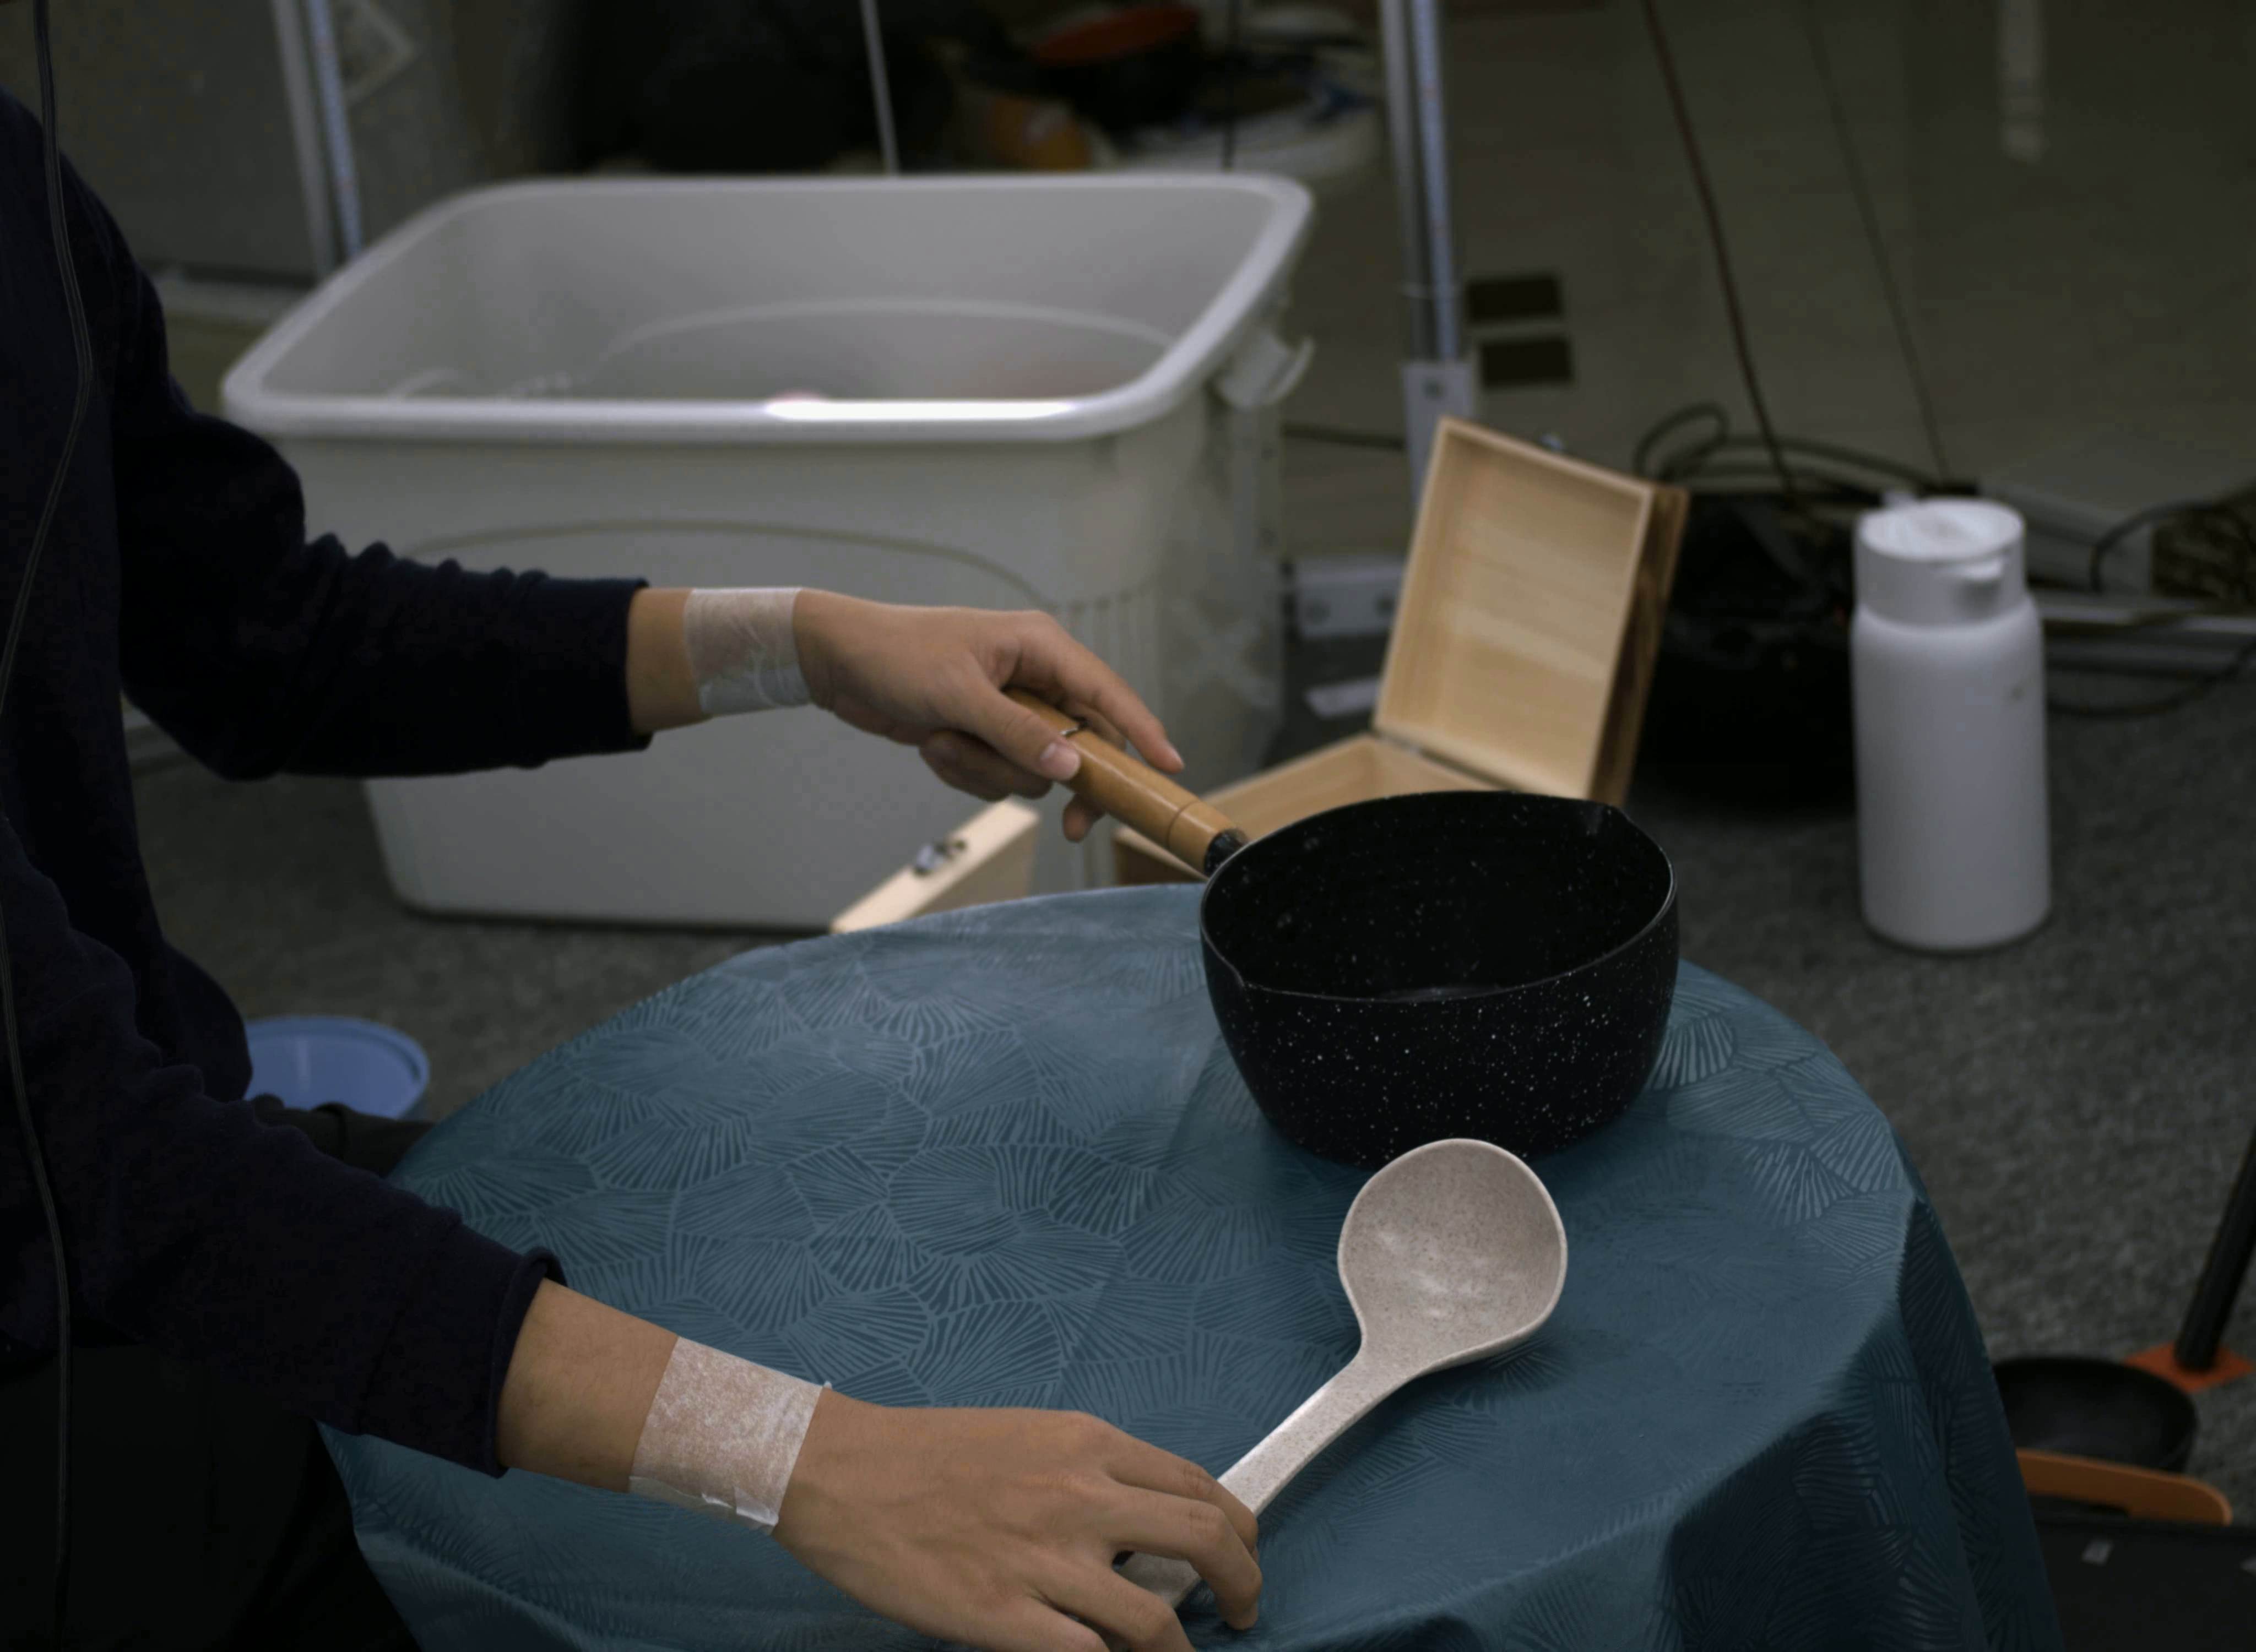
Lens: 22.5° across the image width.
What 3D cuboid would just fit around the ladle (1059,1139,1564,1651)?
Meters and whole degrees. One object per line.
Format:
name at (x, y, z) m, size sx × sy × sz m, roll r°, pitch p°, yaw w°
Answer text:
ladle at (0.053, 0.197, 1.932) m, size 0.089 × 0.070 × 0.272 m, roll 18°, pitch 35°, yaw 30°

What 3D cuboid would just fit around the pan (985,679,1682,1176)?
pan at (0.066, 0.033, 2.228) m, size 0.205 × 0.110 × 0.340 m, roll -28°, pitch 34°, yaw -36°
